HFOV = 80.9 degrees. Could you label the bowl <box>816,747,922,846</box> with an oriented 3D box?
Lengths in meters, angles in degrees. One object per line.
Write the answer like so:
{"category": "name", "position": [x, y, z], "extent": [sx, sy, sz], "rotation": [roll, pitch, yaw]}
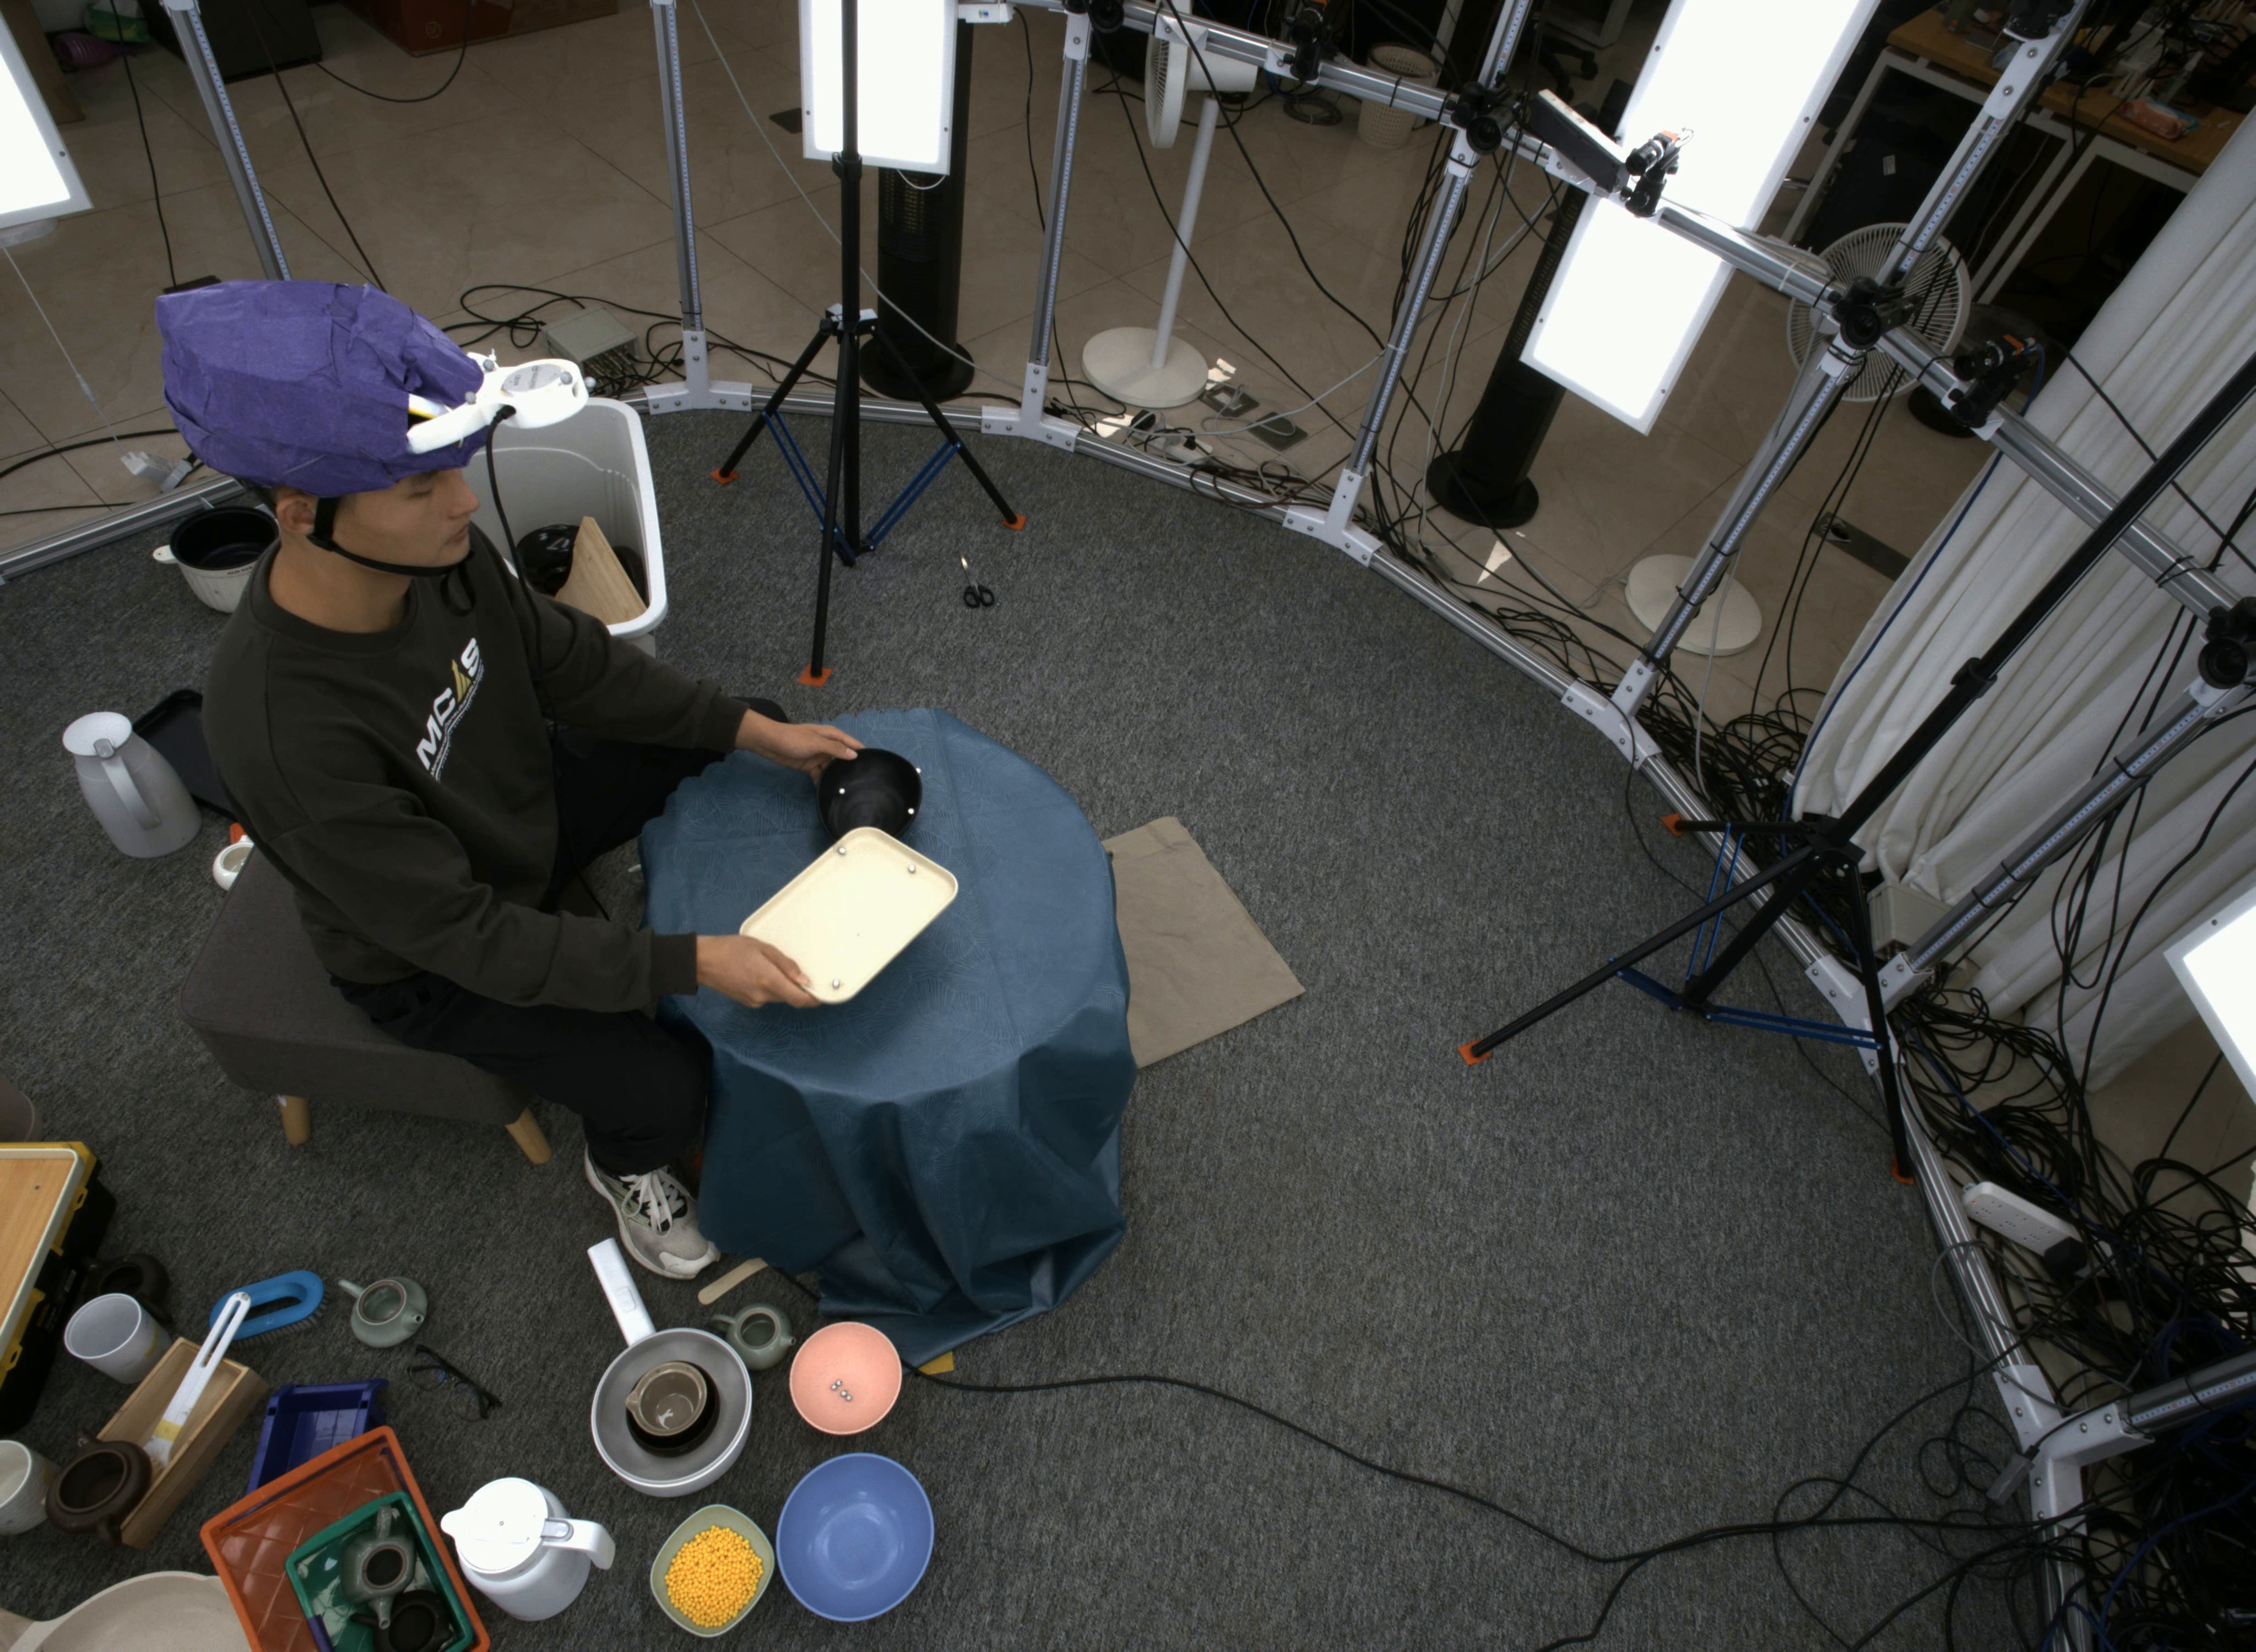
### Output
{"category": "bowl", "position": [-0.344, -0.023, 1.732], "extent": [0.136, 0.068, 0.167], "rotation": [8, 54, -5]}

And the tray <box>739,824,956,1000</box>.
{"category": "tray", "position": [-0.335, 0.100, 1.565], "extent": [0.167, 0.018, 0.239], "rotation": [30, 50, 16]}
